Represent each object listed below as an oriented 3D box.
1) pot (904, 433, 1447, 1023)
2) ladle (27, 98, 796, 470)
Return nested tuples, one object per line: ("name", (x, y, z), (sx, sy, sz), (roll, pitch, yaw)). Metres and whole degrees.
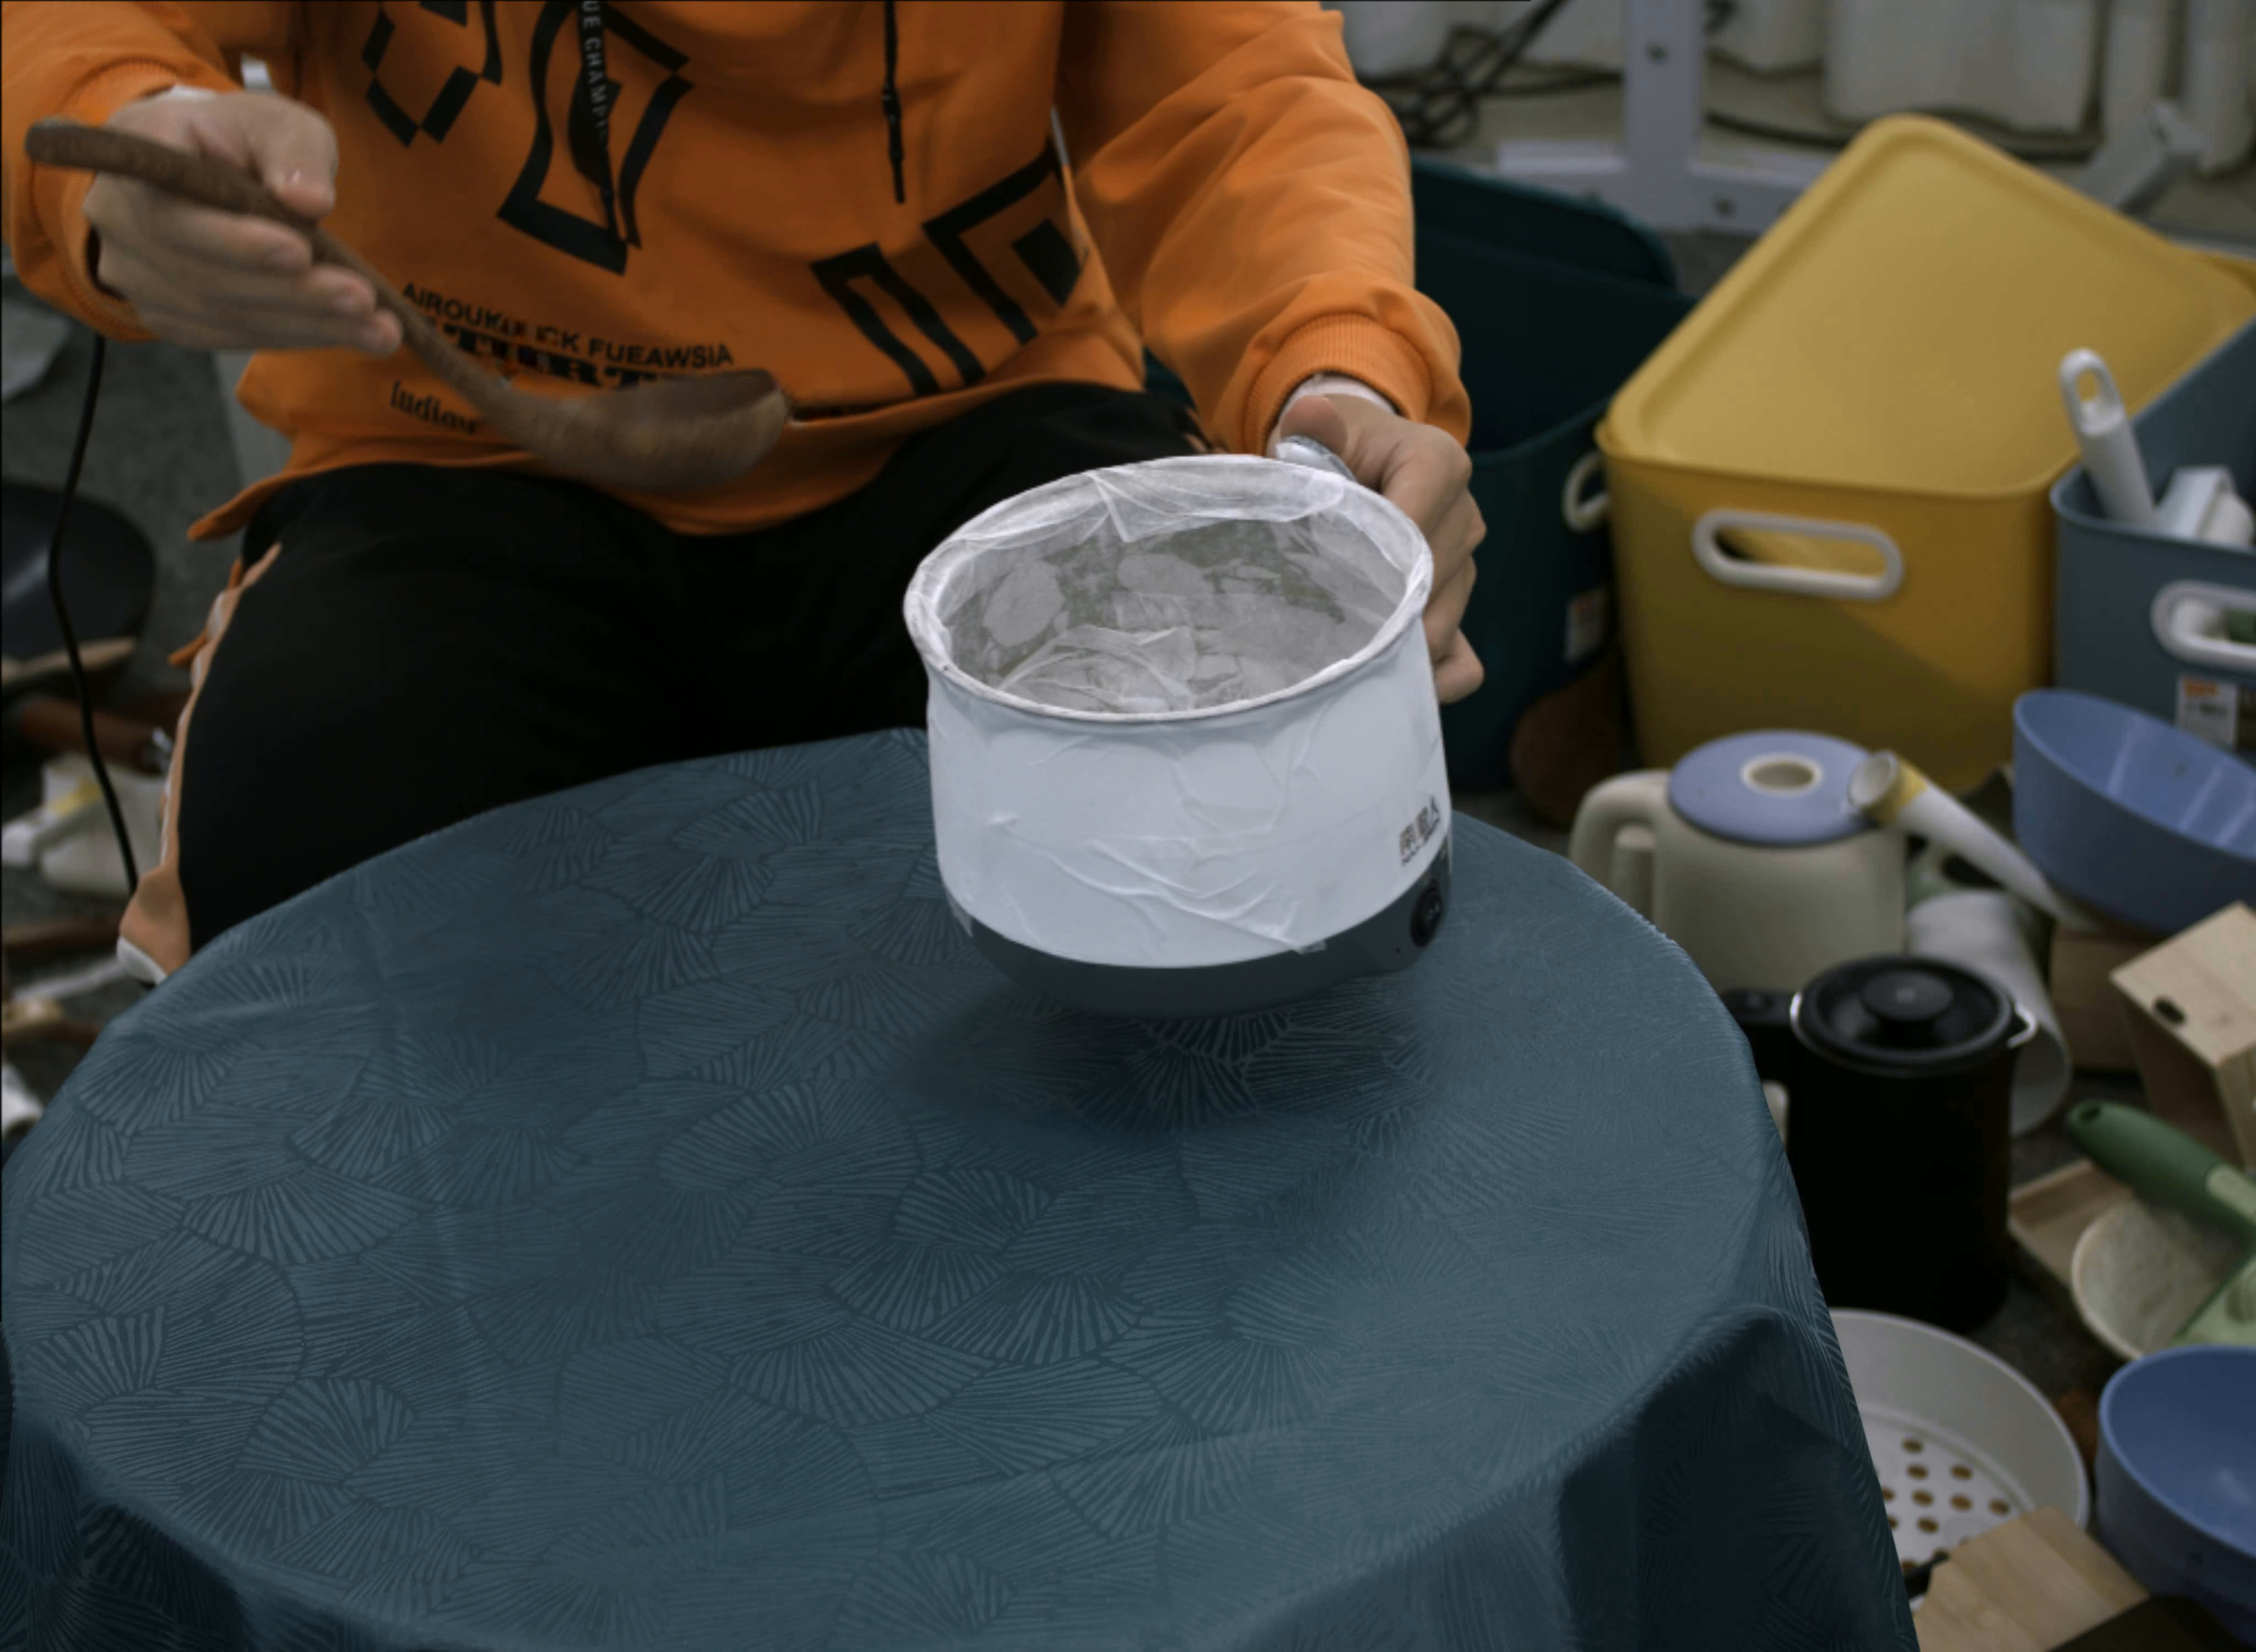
("pot", (0.030, -0.041, 1.927), (0.177, 0.135, 0.238), (10, 34, 24))
("ladle", (-0.224, -0.183, 1.801), (0.259, 0.065, 0.076), (30, -3, -21))
